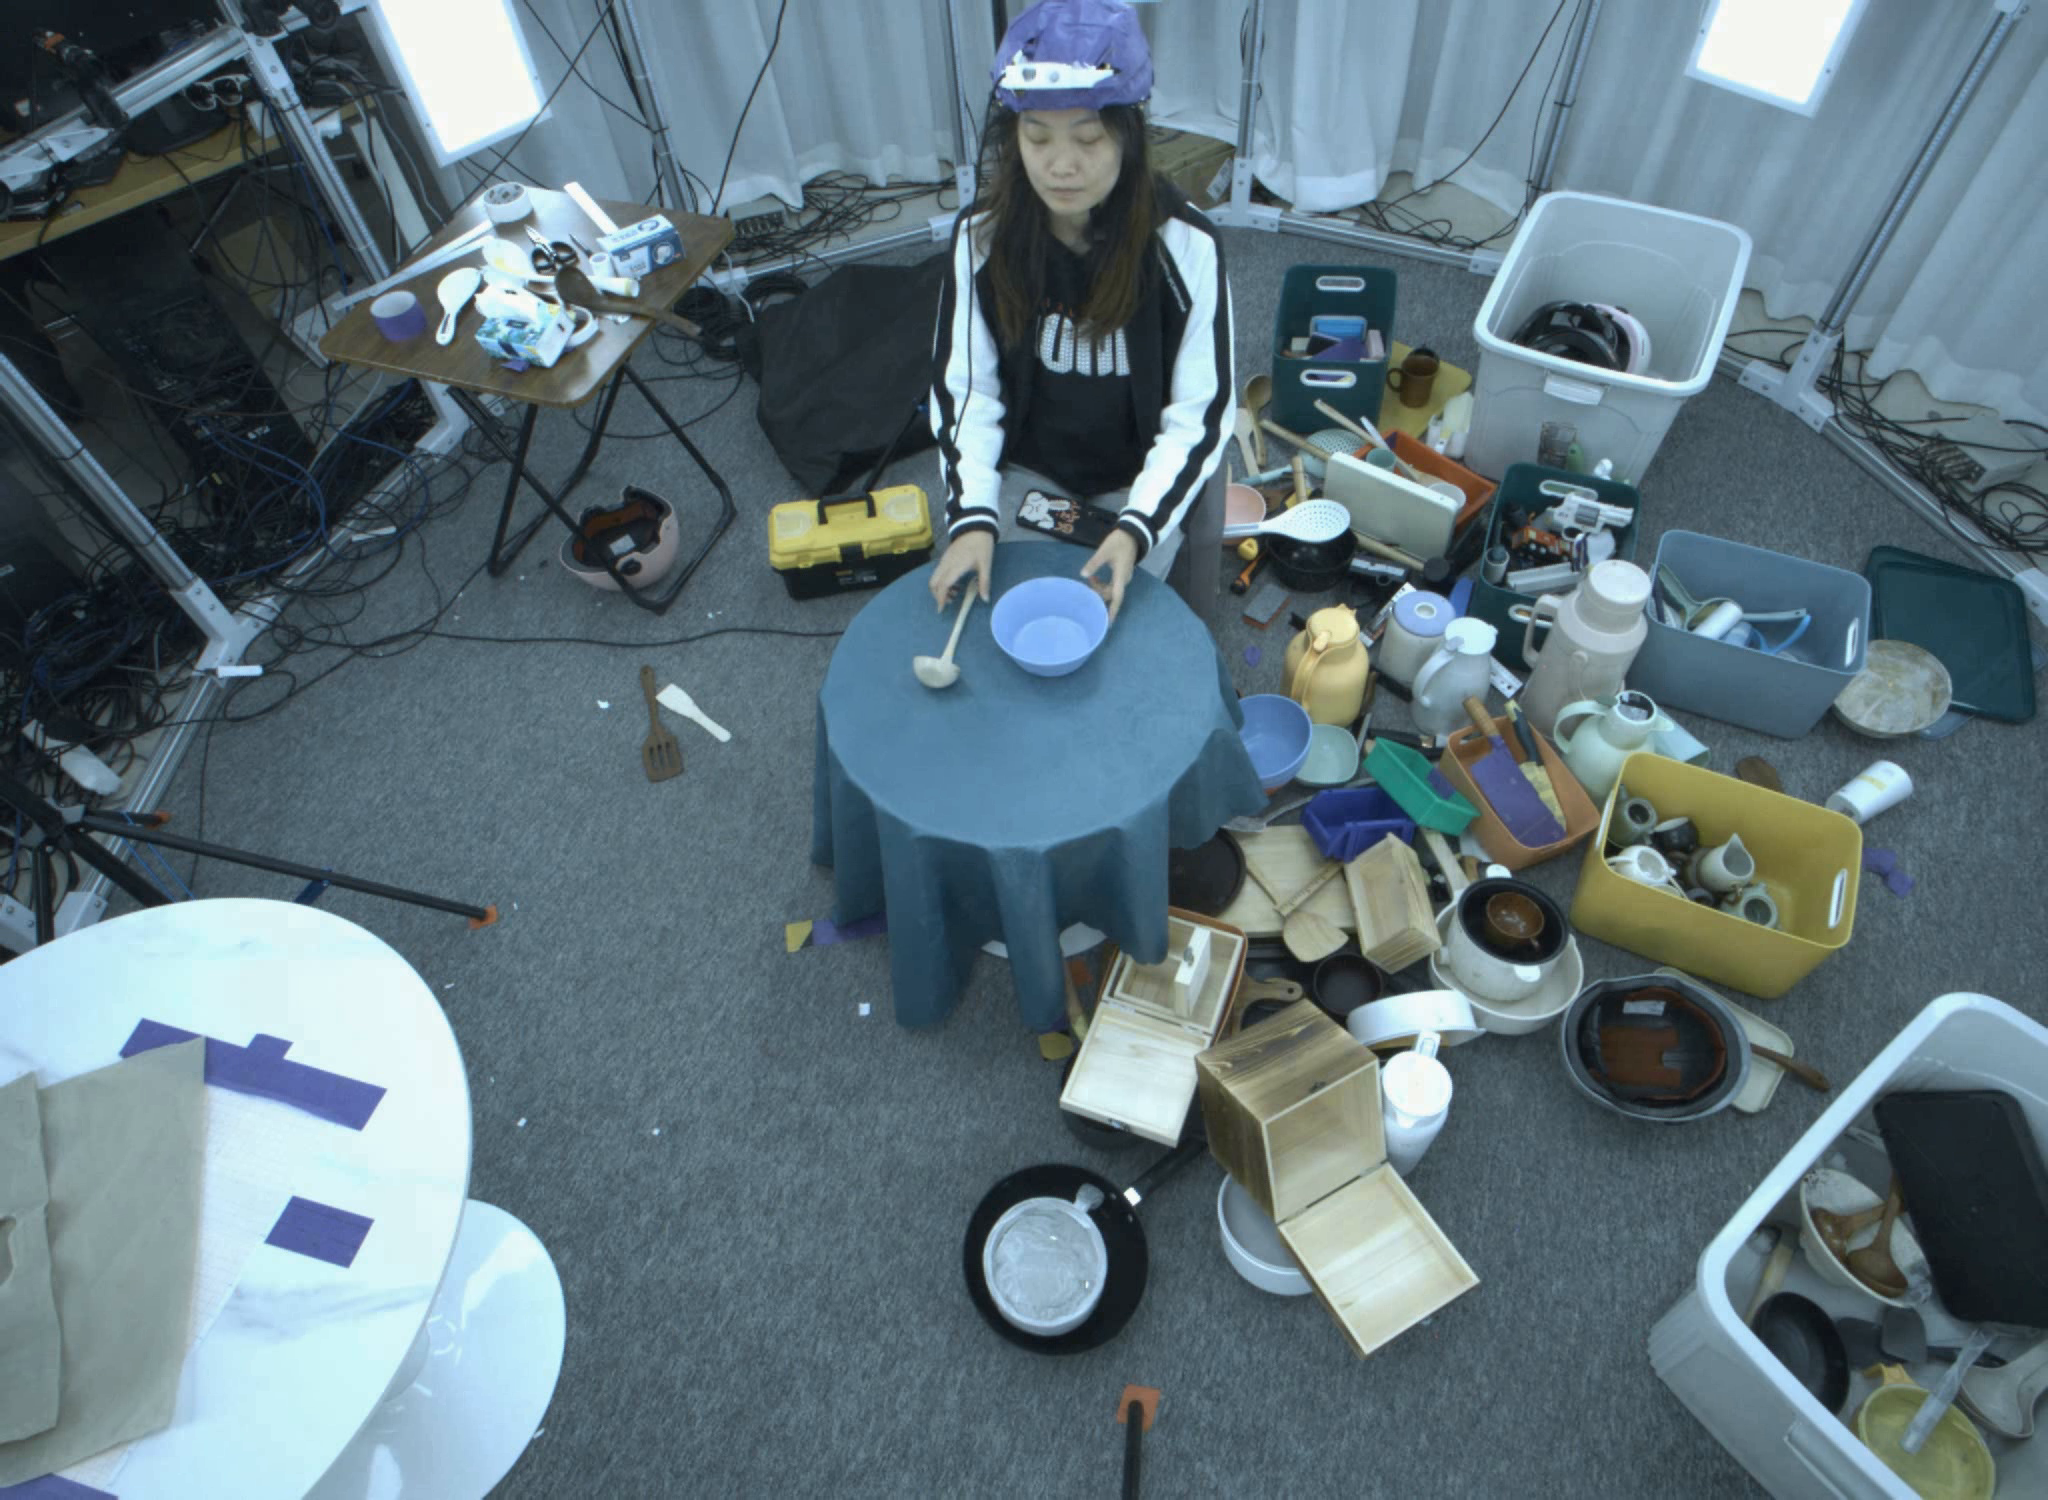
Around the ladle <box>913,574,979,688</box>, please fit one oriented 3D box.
[{"bbox_3d":[-0.109,-0.205,1.891,0.072,0.073,0.253,10,56,8],"label":"ladle"}]

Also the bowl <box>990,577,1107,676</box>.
[{"bbox_3d":[0.037,-0.178,1.870,0.176,0.071,0.174,0,55,1],"label":"bowl"}]
